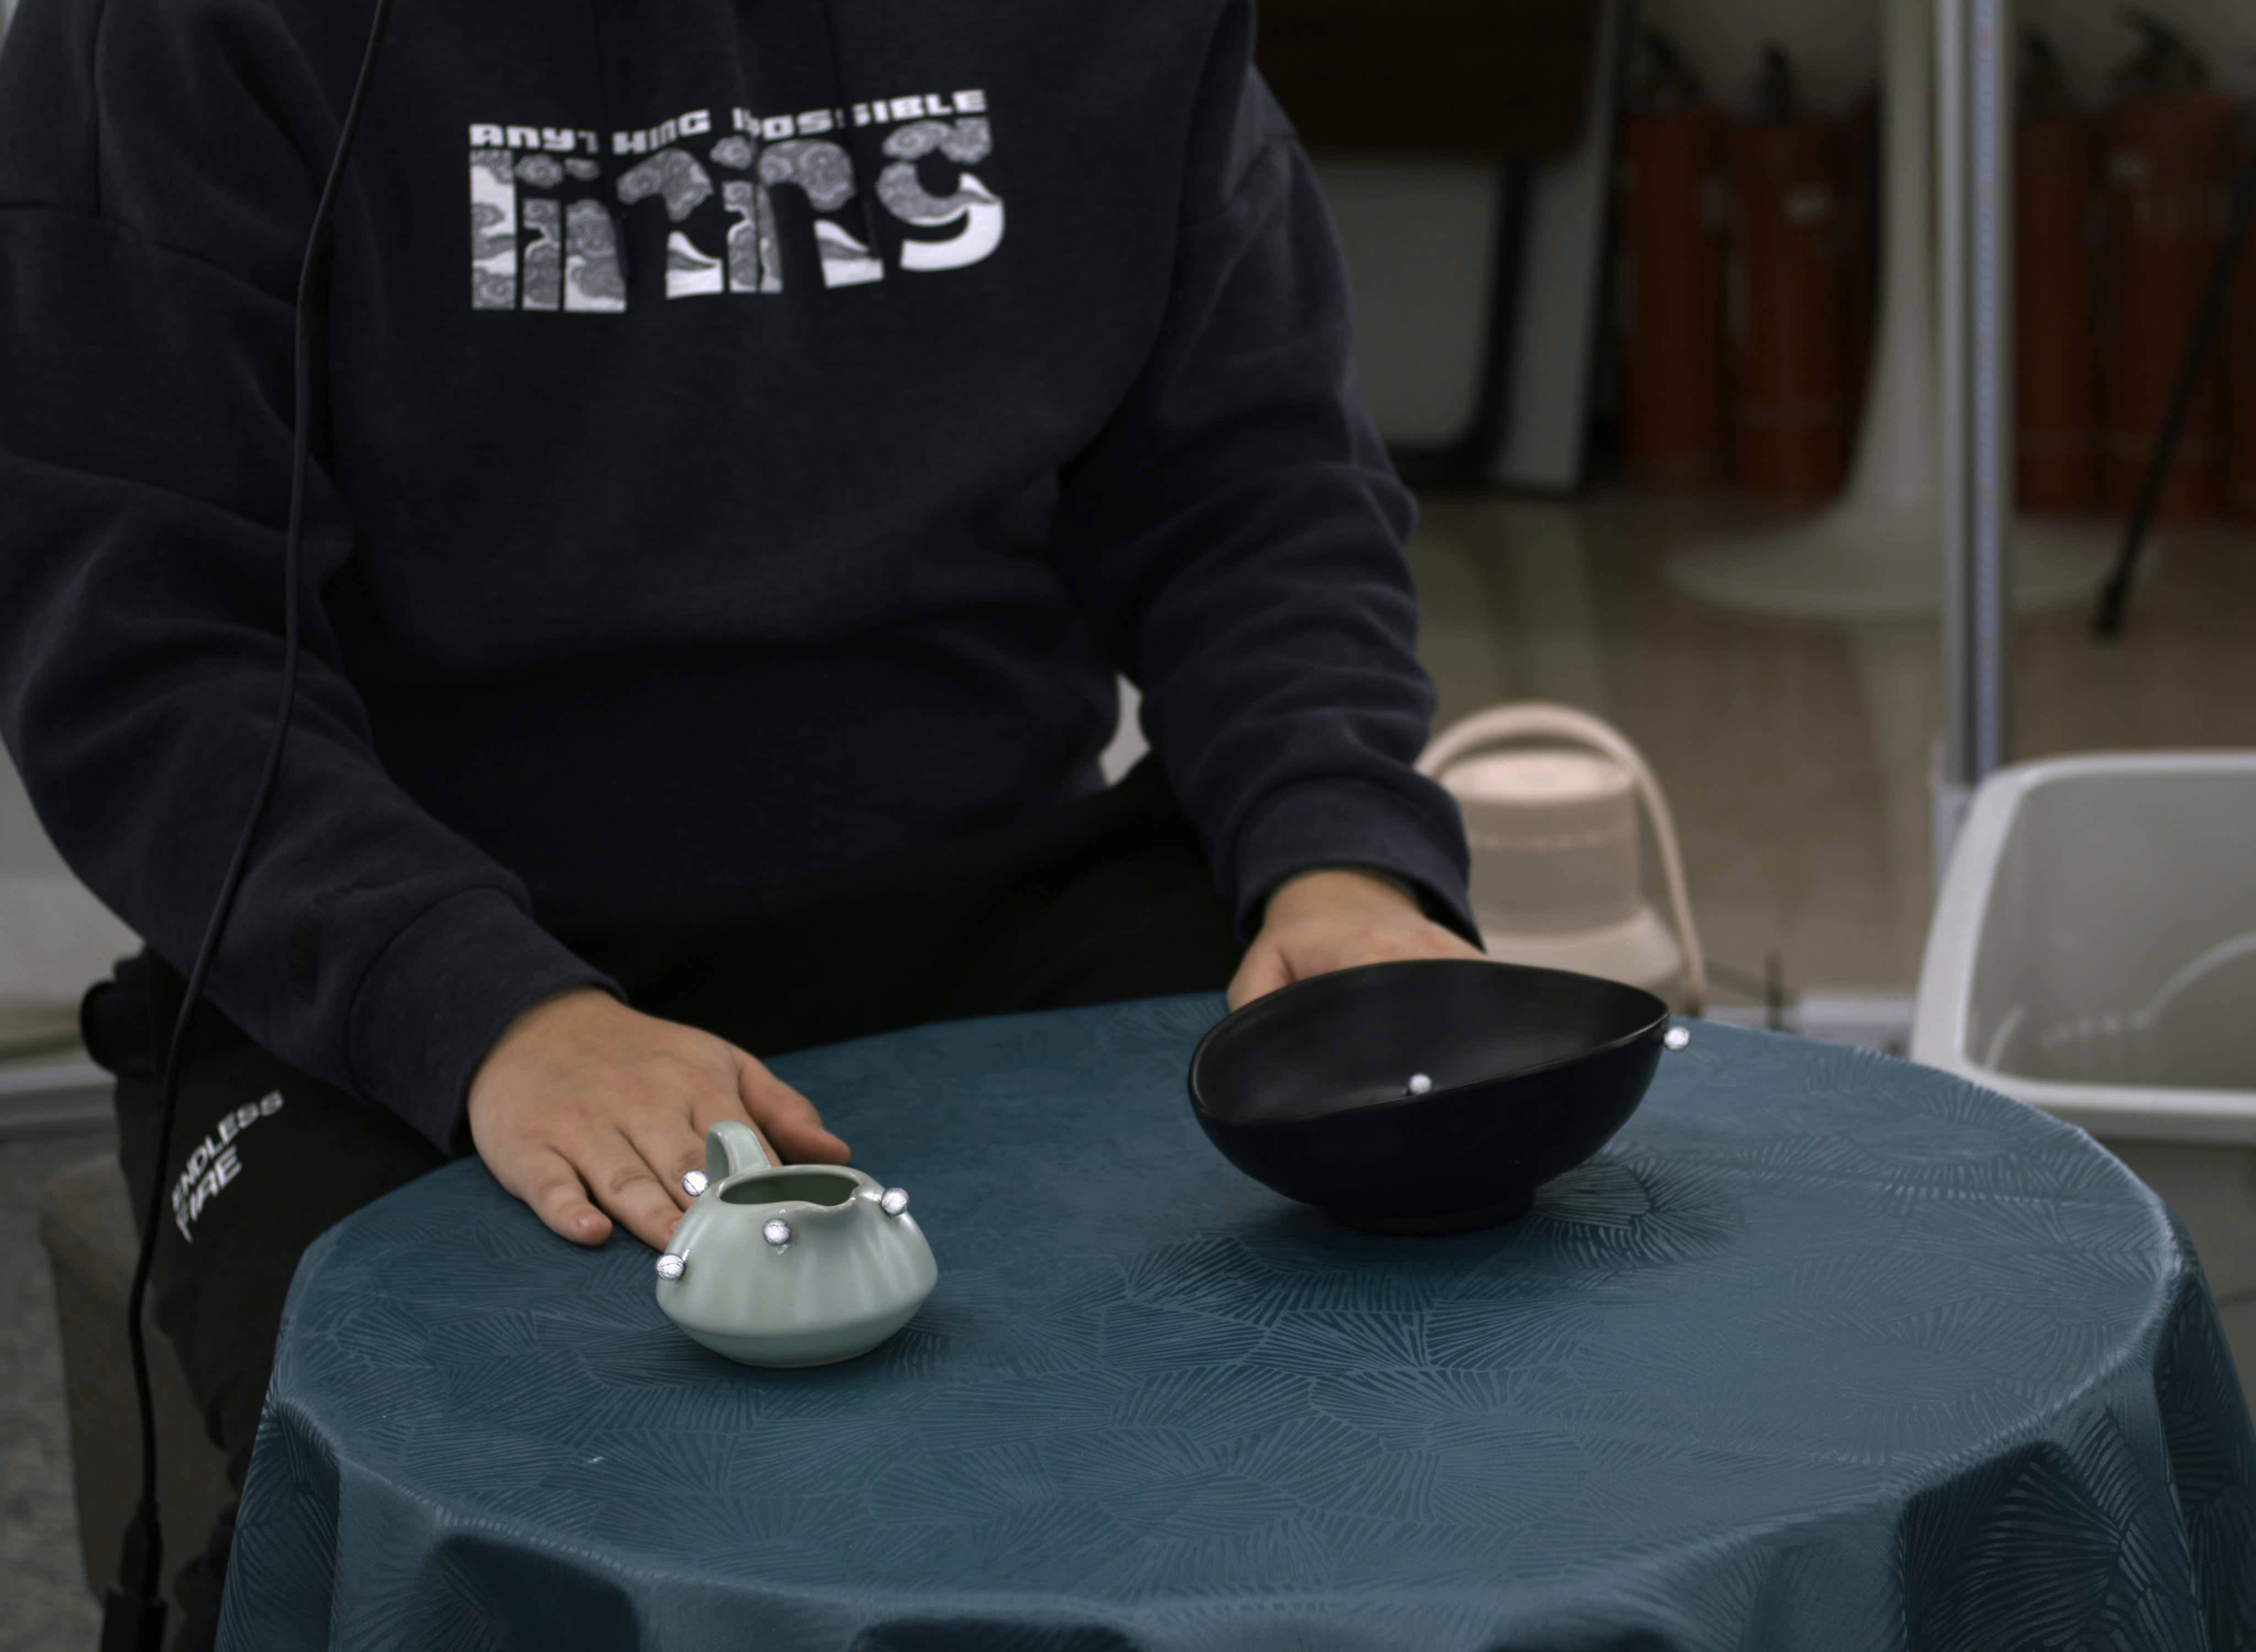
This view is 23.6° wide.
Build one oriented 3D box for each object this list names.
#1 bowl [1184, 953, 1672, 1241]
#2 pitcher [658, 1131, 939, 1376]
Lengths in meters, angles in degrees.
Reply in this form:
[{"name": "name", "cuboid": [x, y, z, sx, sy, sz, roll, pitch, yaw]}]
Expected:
[{"name": "bowl", "cuboid": [0.099, 0.092, 1.733, 0.166, 0.067, 0.139, -14, 16, -33]}, {"name": "pitcher", "cuboid": [-0.105, 0.131, 1.650, 0.084, 0.061, 0.109, -9, 12, -24]}]
